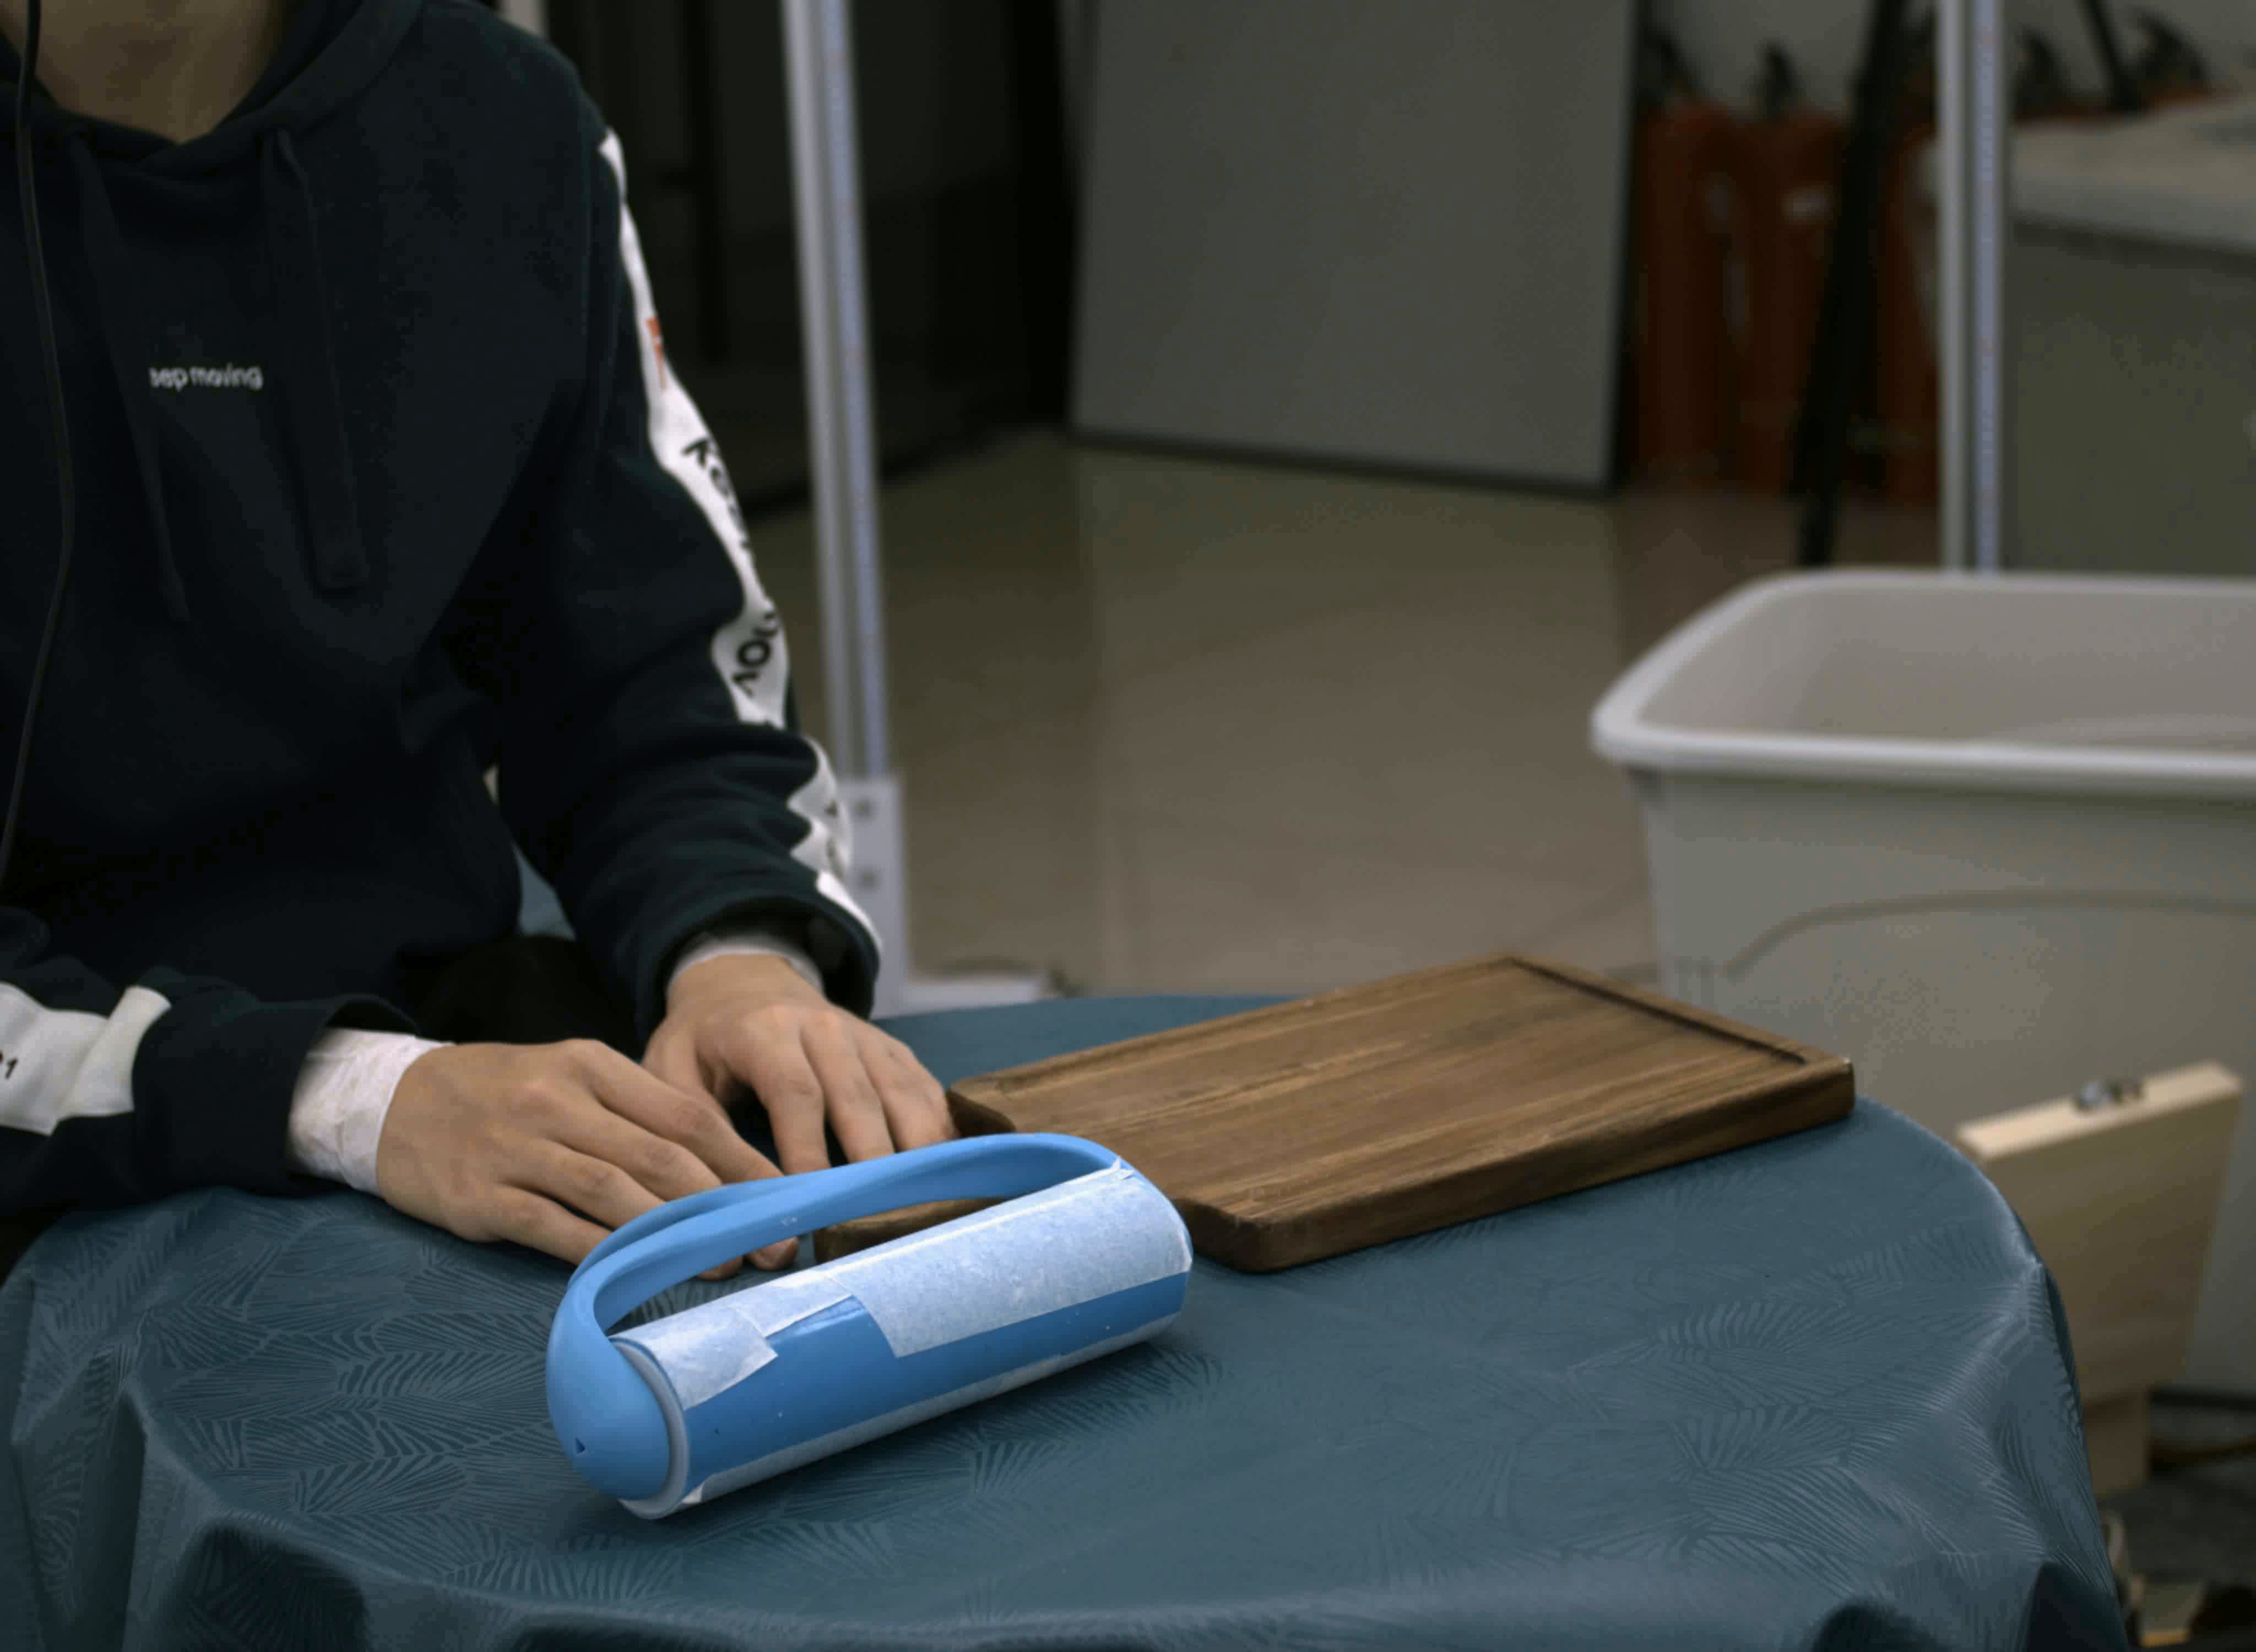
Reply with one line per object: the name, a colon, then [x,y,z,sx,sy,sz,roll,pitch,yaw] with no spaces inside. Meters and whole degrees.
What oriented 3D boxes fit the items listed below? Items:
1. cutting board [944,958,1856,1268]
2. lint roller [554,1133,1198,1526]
cutting board: [0.050,0.102,1.790,0.344,0.023,0.203,-12,15,-30]
lint roller: [-0.109,0.139,1.610,0.224,0.068,0.182,-19,21,-41]
